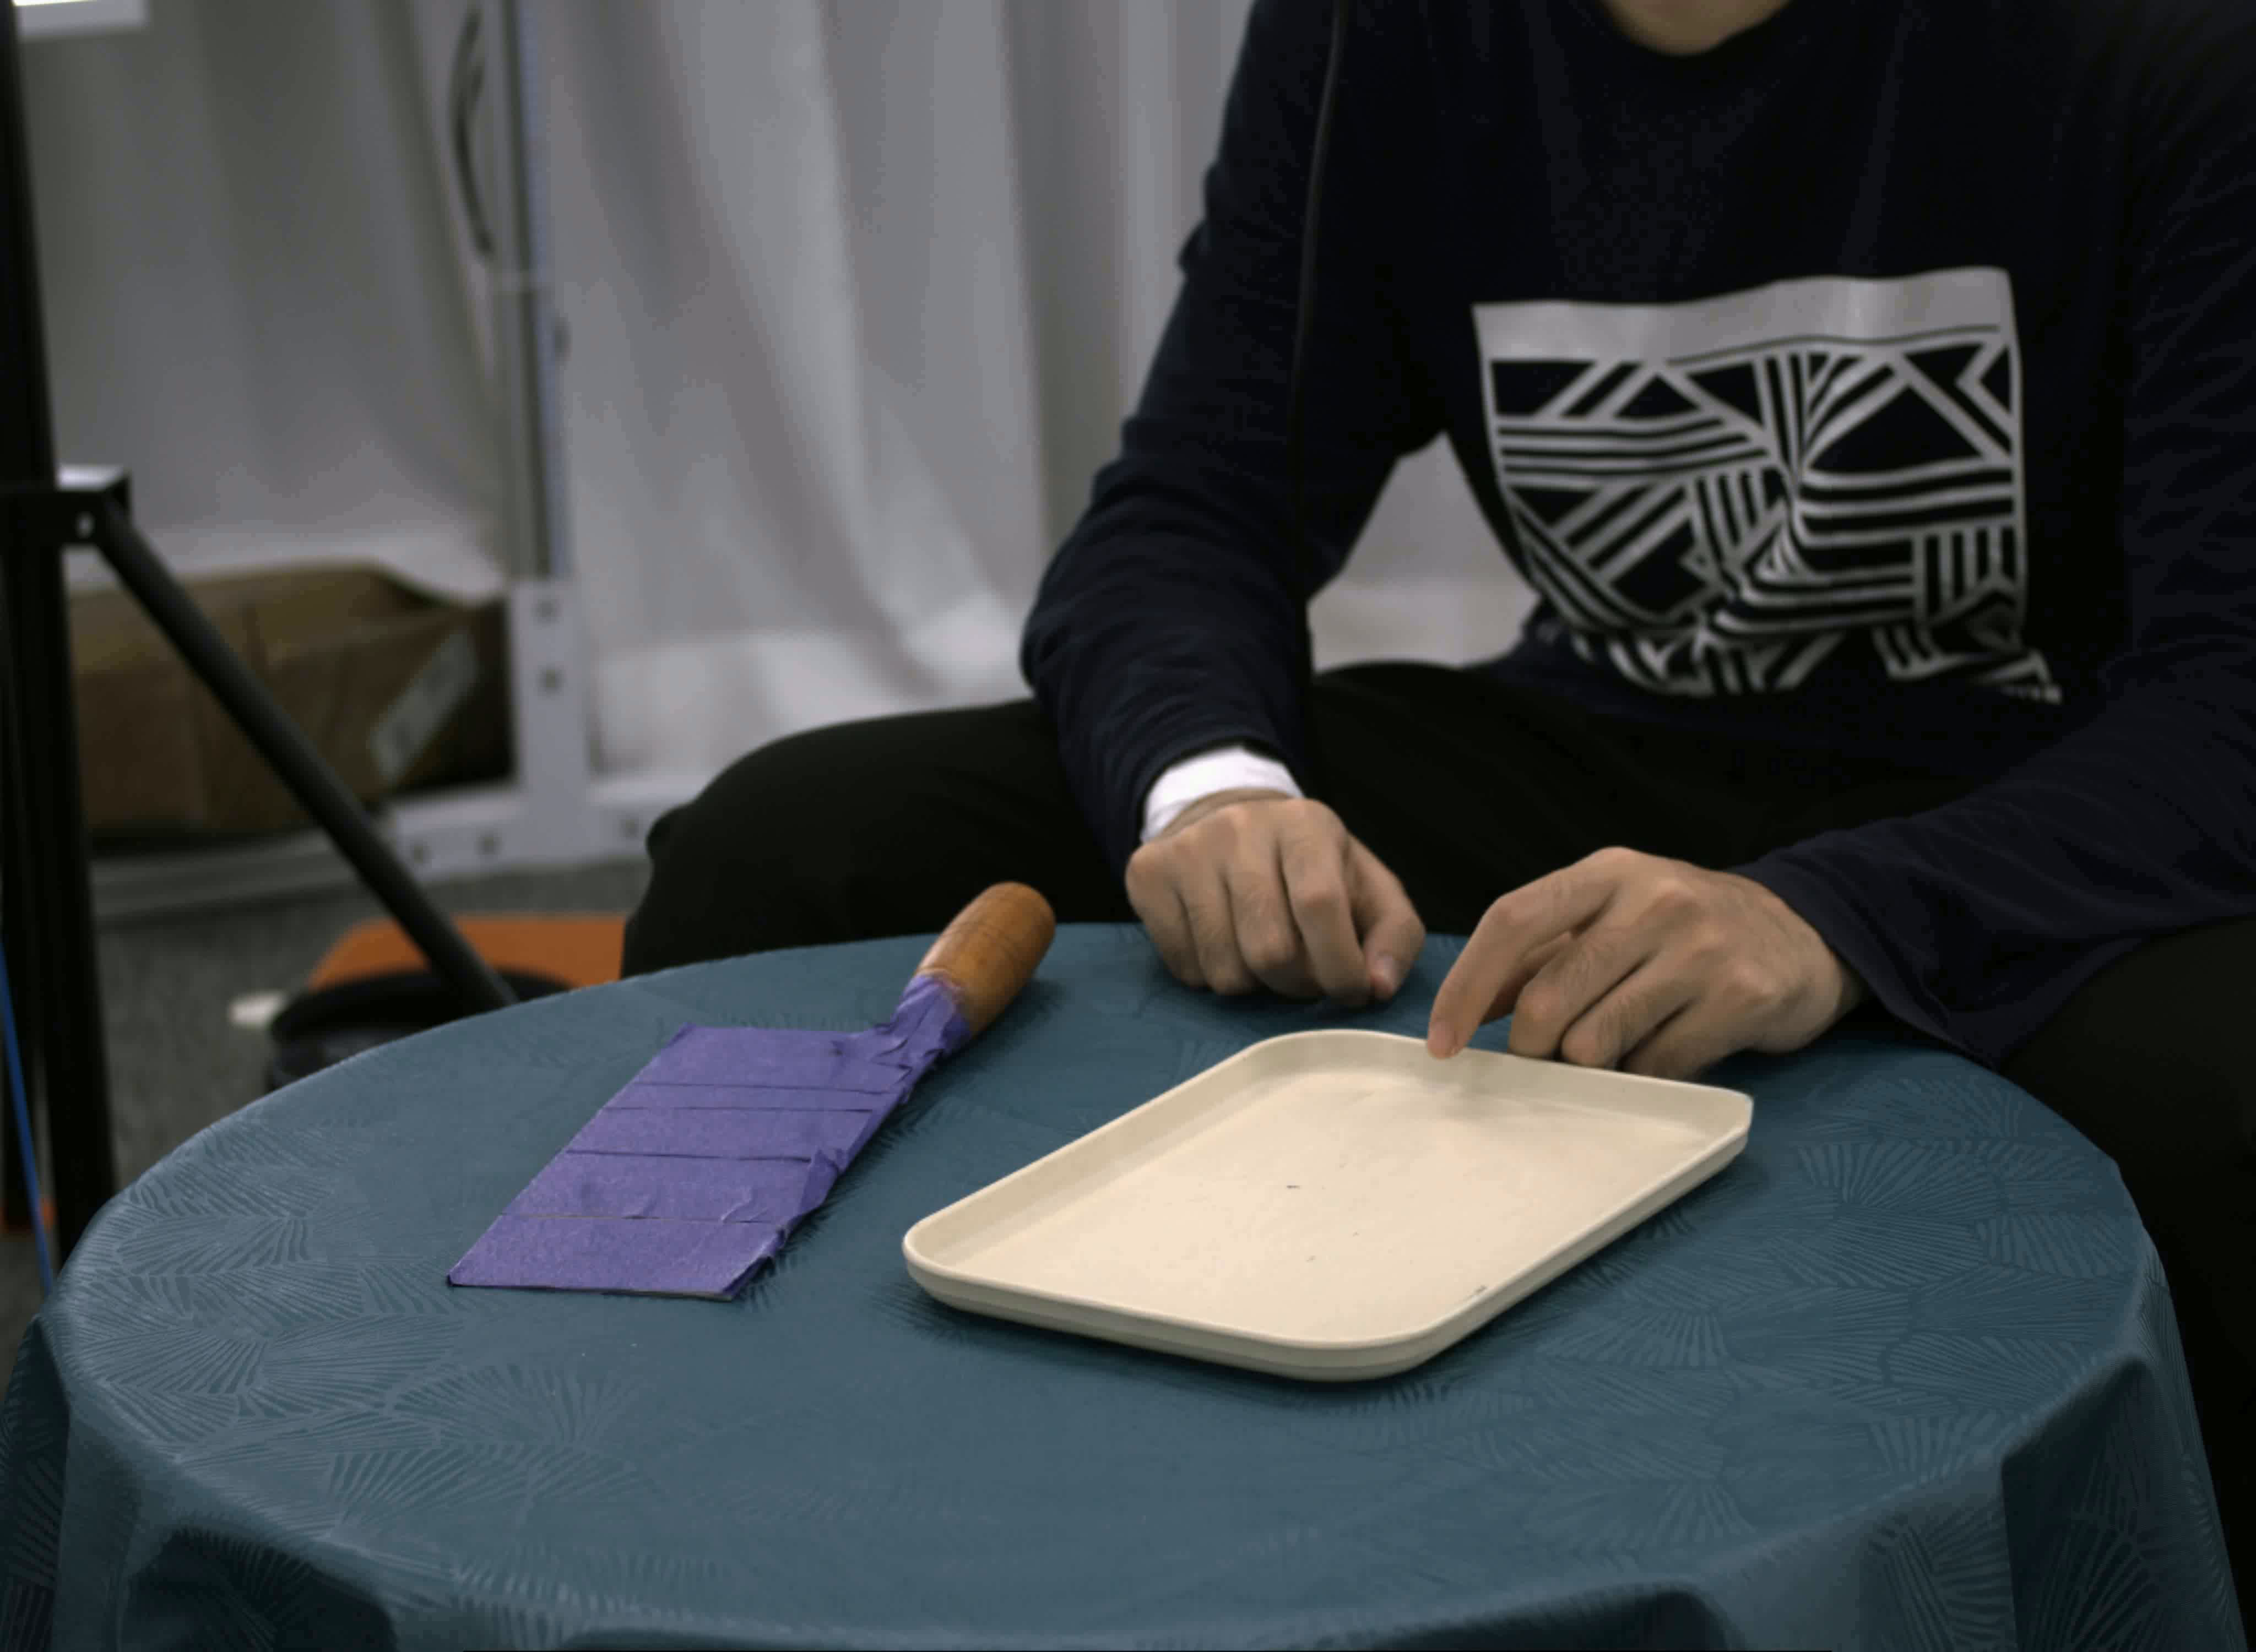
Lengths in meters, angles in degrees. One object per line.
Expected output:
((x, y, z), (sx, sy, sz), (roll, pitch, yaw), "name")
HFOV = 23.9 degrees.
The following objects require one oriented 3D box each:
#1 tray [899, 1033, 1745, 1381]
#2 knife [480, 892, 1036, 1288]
((0.059, 0.108, 1.521), (0.174, 0.017, 0.235), (8, 18, 33), "tray")
((-0.111, 0.078, 1.637), (0.104, 0.032, 0.313), (2, 17, 15), "knife")
